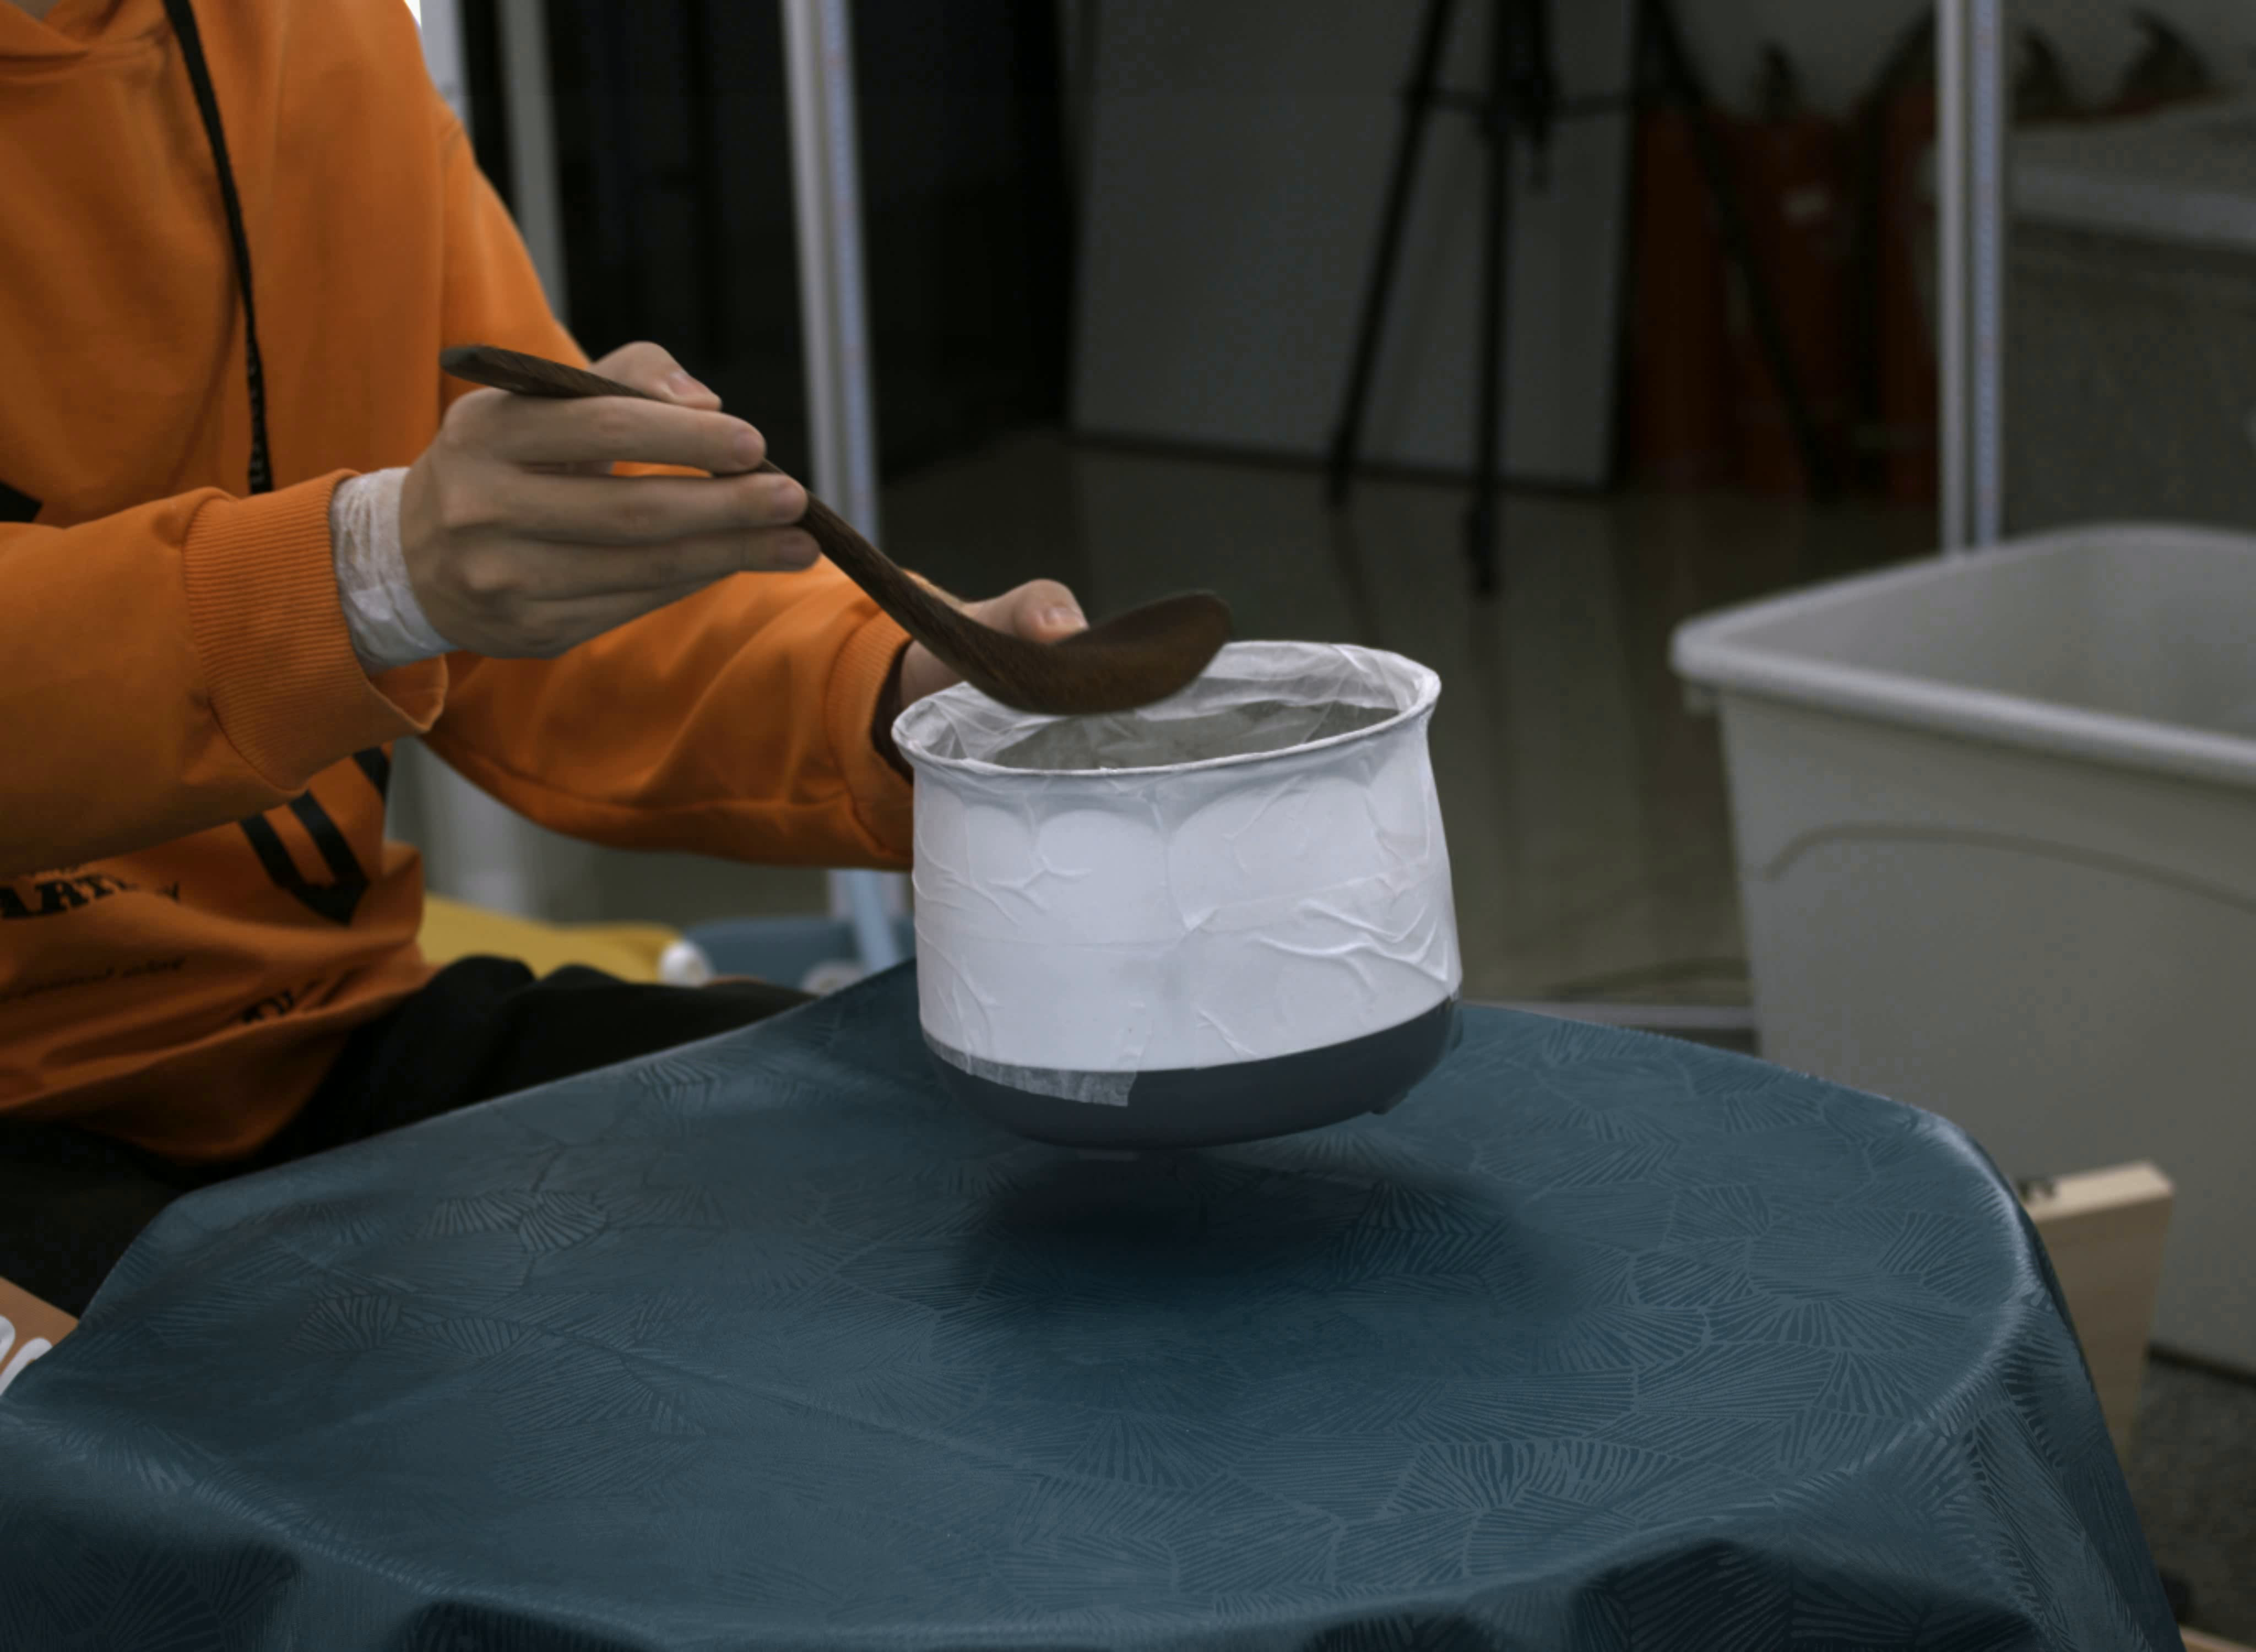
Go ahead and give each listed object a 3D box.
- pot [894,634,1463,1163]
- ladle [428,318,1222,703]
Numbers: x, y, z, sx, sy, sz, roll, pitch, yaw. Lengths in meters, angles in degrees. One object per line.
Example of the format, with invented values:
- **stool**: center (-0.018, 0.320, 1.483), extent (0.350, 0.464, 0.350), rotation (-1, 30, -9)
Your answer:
- **pot**: center (0.008, 0.016, 1.751), extent (0.175, 0.138, 0.236), rotation (-10, 14, -19)
- **ladle**: center (-0.089, -0.113, 1.675), extent (0.270, 0.072, 0.077), rotation (31, -21, -25)
